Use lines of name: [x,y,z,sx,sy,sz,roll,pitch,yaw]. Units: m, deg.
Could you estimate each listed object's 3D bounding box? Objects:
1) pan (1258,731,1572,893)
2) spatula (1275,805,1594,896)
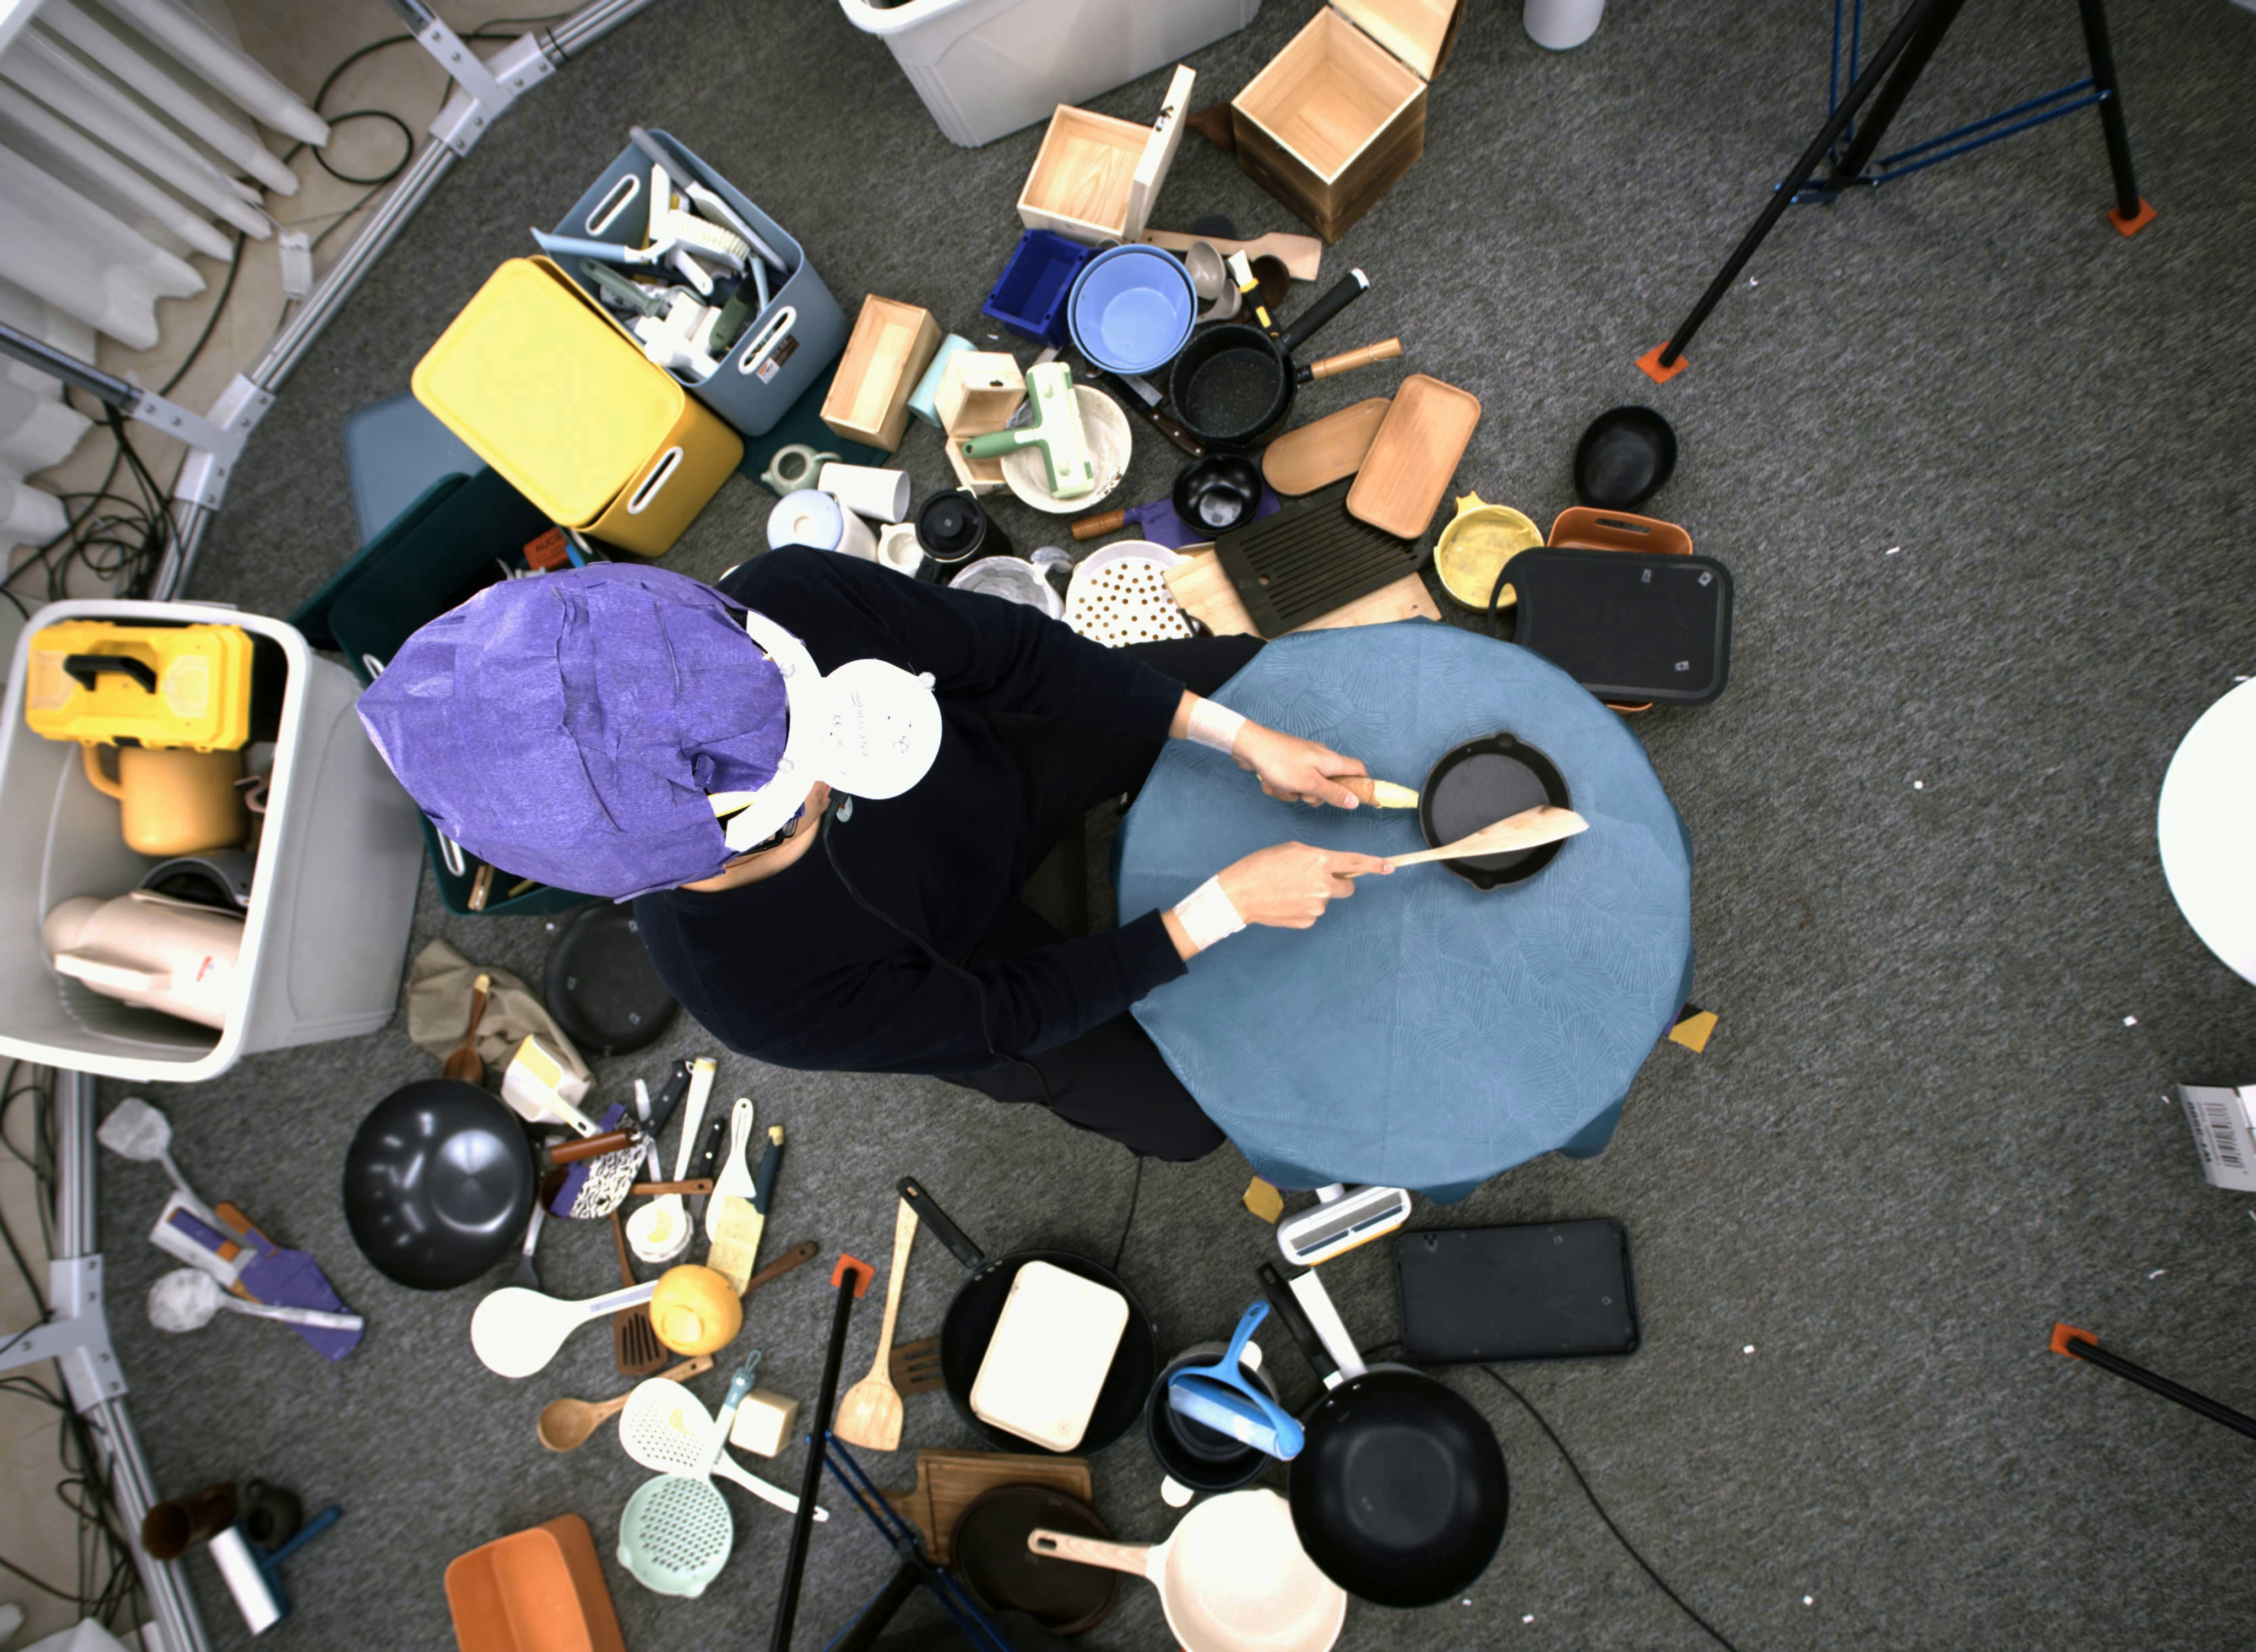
pan: [0.294,-0.032,1.419,0.324,0.049,0.169,11,92,3]
spatula: [0.302,0.024,1.379,0.327,0.079,0.017,-13,111,-8]
